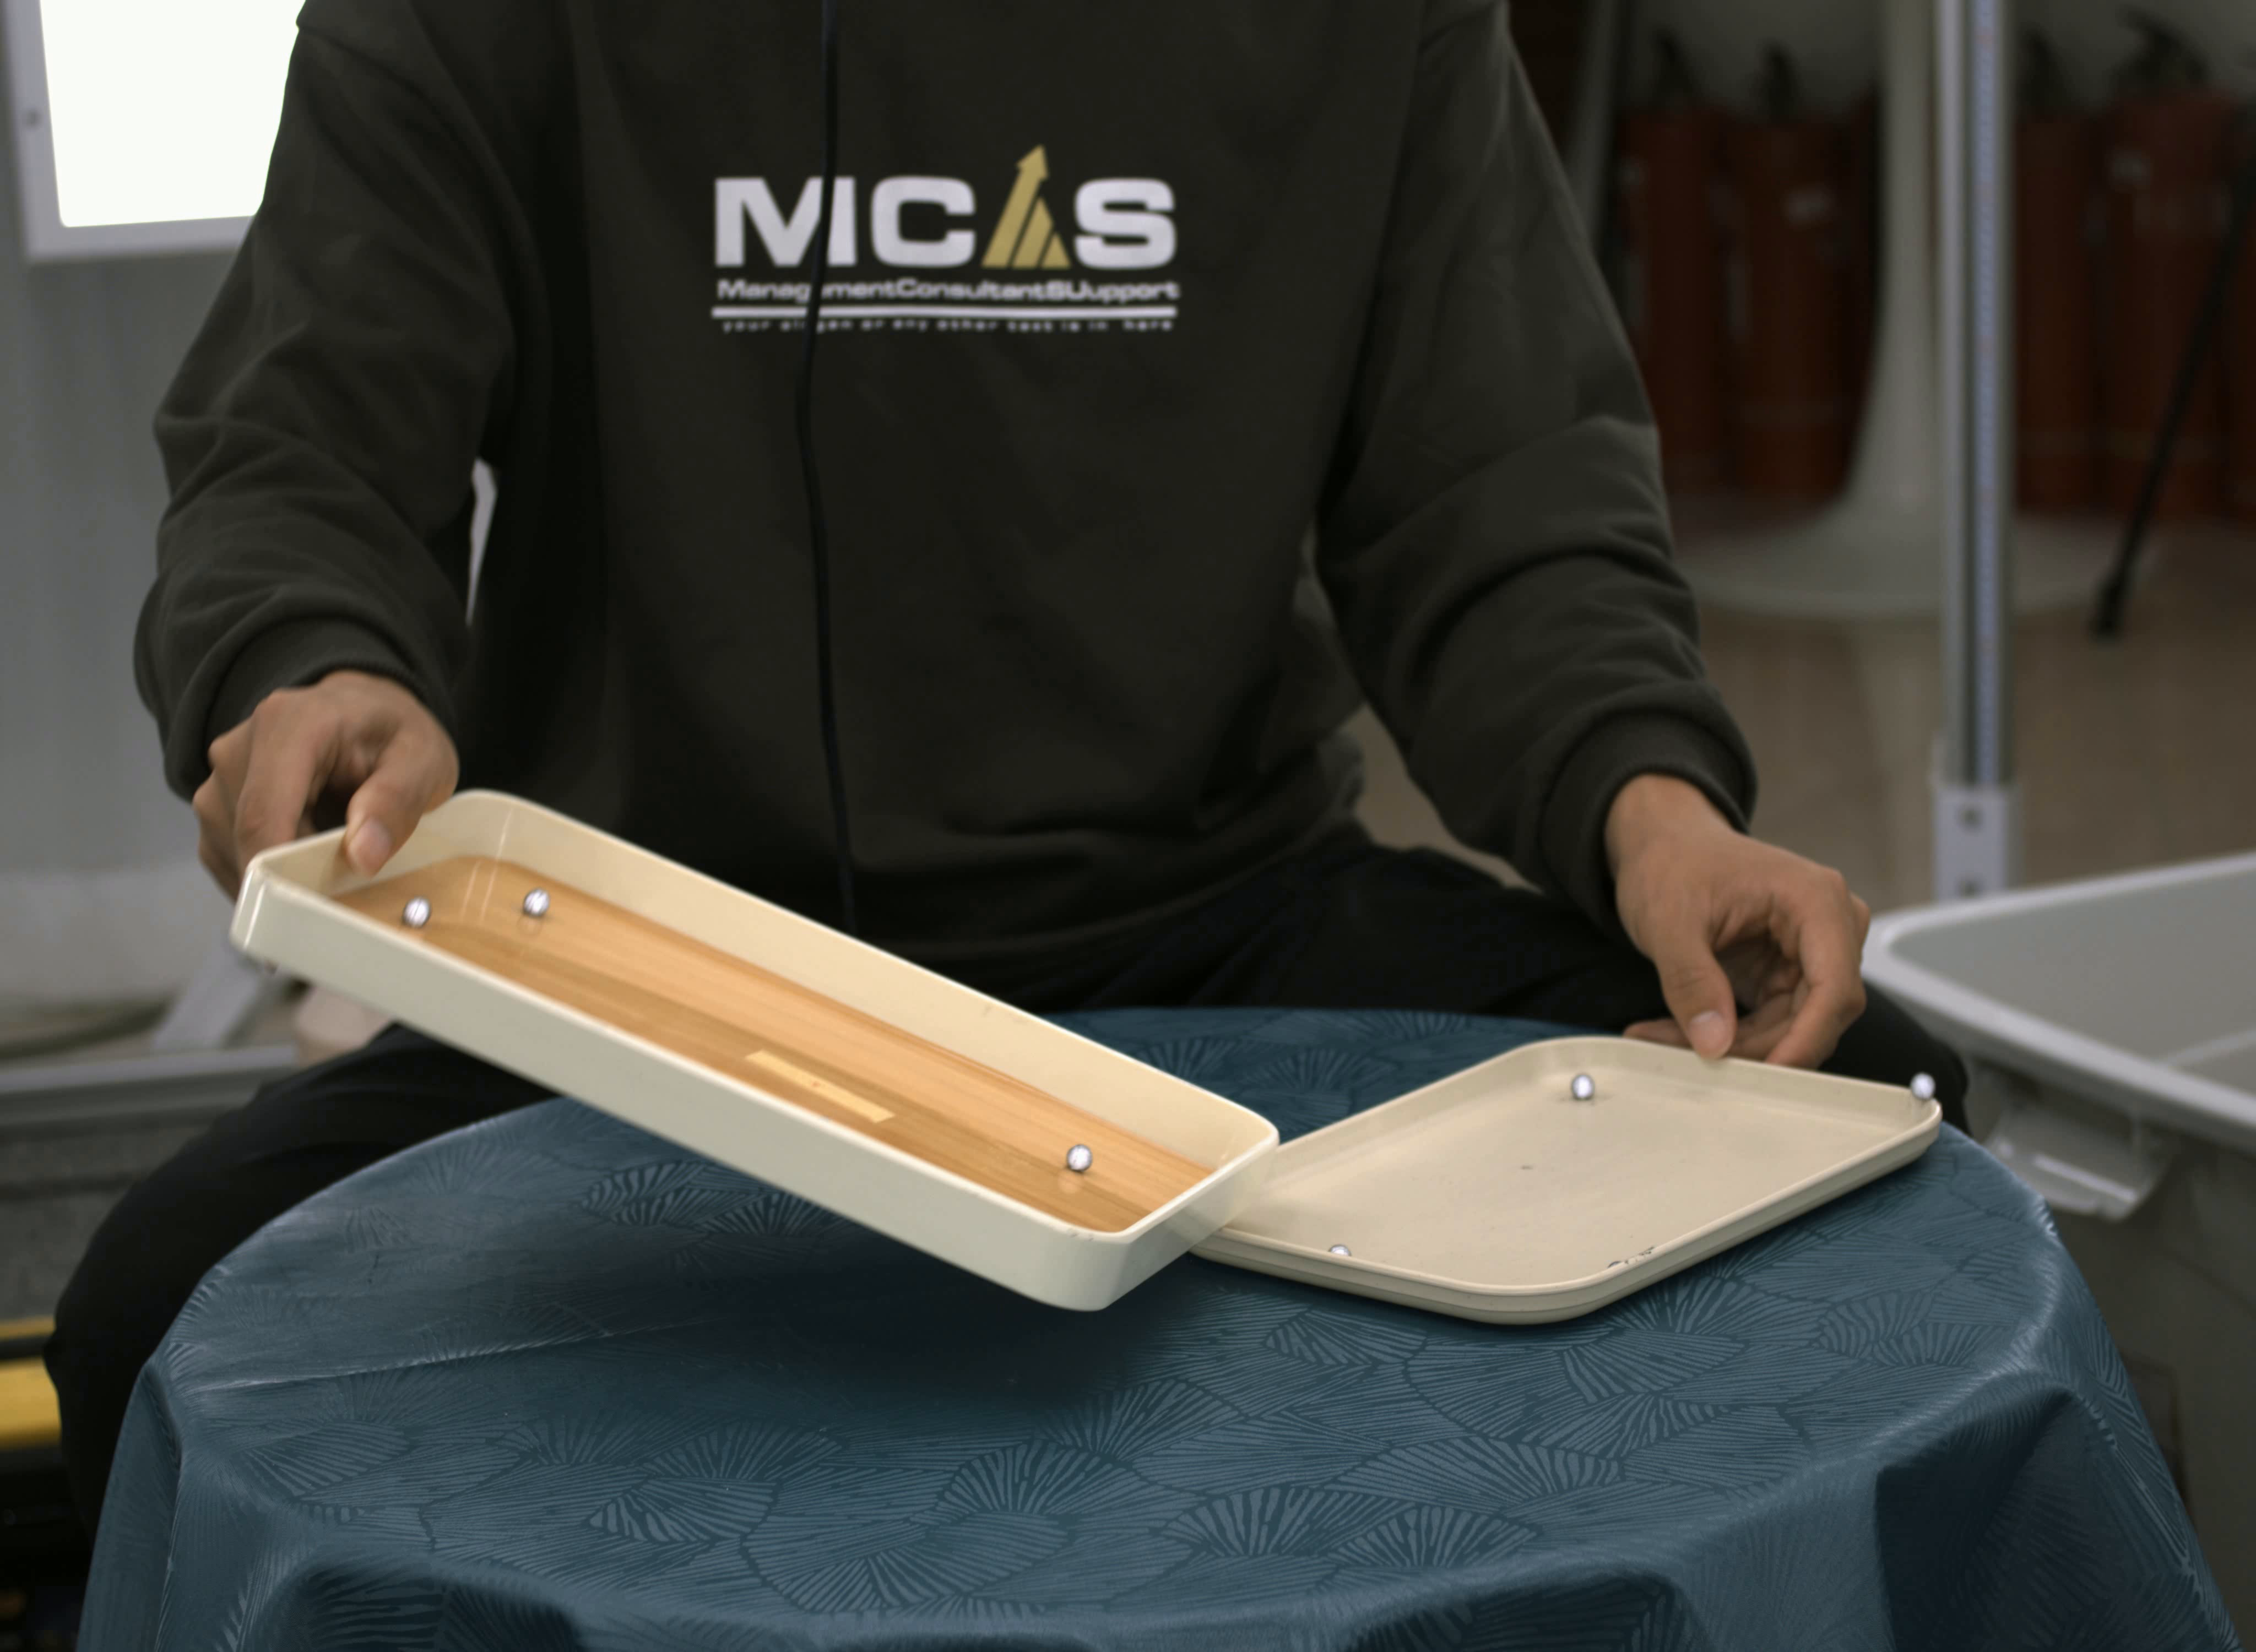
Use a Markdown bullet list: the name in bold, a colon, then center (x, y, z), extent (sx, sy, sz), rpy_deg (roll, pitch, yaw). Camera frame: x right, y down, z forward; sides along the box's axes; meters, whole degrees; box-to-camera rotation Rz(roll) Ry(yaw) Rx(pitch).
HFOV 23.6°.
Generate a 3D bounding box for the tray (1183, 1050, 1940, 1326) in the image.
- **tray**: center (0.139, 0.115, 1.730), extent (0.173, 0.017, 0.235), rpy_deg (7, 17, 42)

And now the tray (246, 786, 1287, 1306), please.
- **tray**: center (-0.108, 0.064, 1.675), extent (0.300, 0.028, 0.189), rpy_deg (23, 13, 15)
